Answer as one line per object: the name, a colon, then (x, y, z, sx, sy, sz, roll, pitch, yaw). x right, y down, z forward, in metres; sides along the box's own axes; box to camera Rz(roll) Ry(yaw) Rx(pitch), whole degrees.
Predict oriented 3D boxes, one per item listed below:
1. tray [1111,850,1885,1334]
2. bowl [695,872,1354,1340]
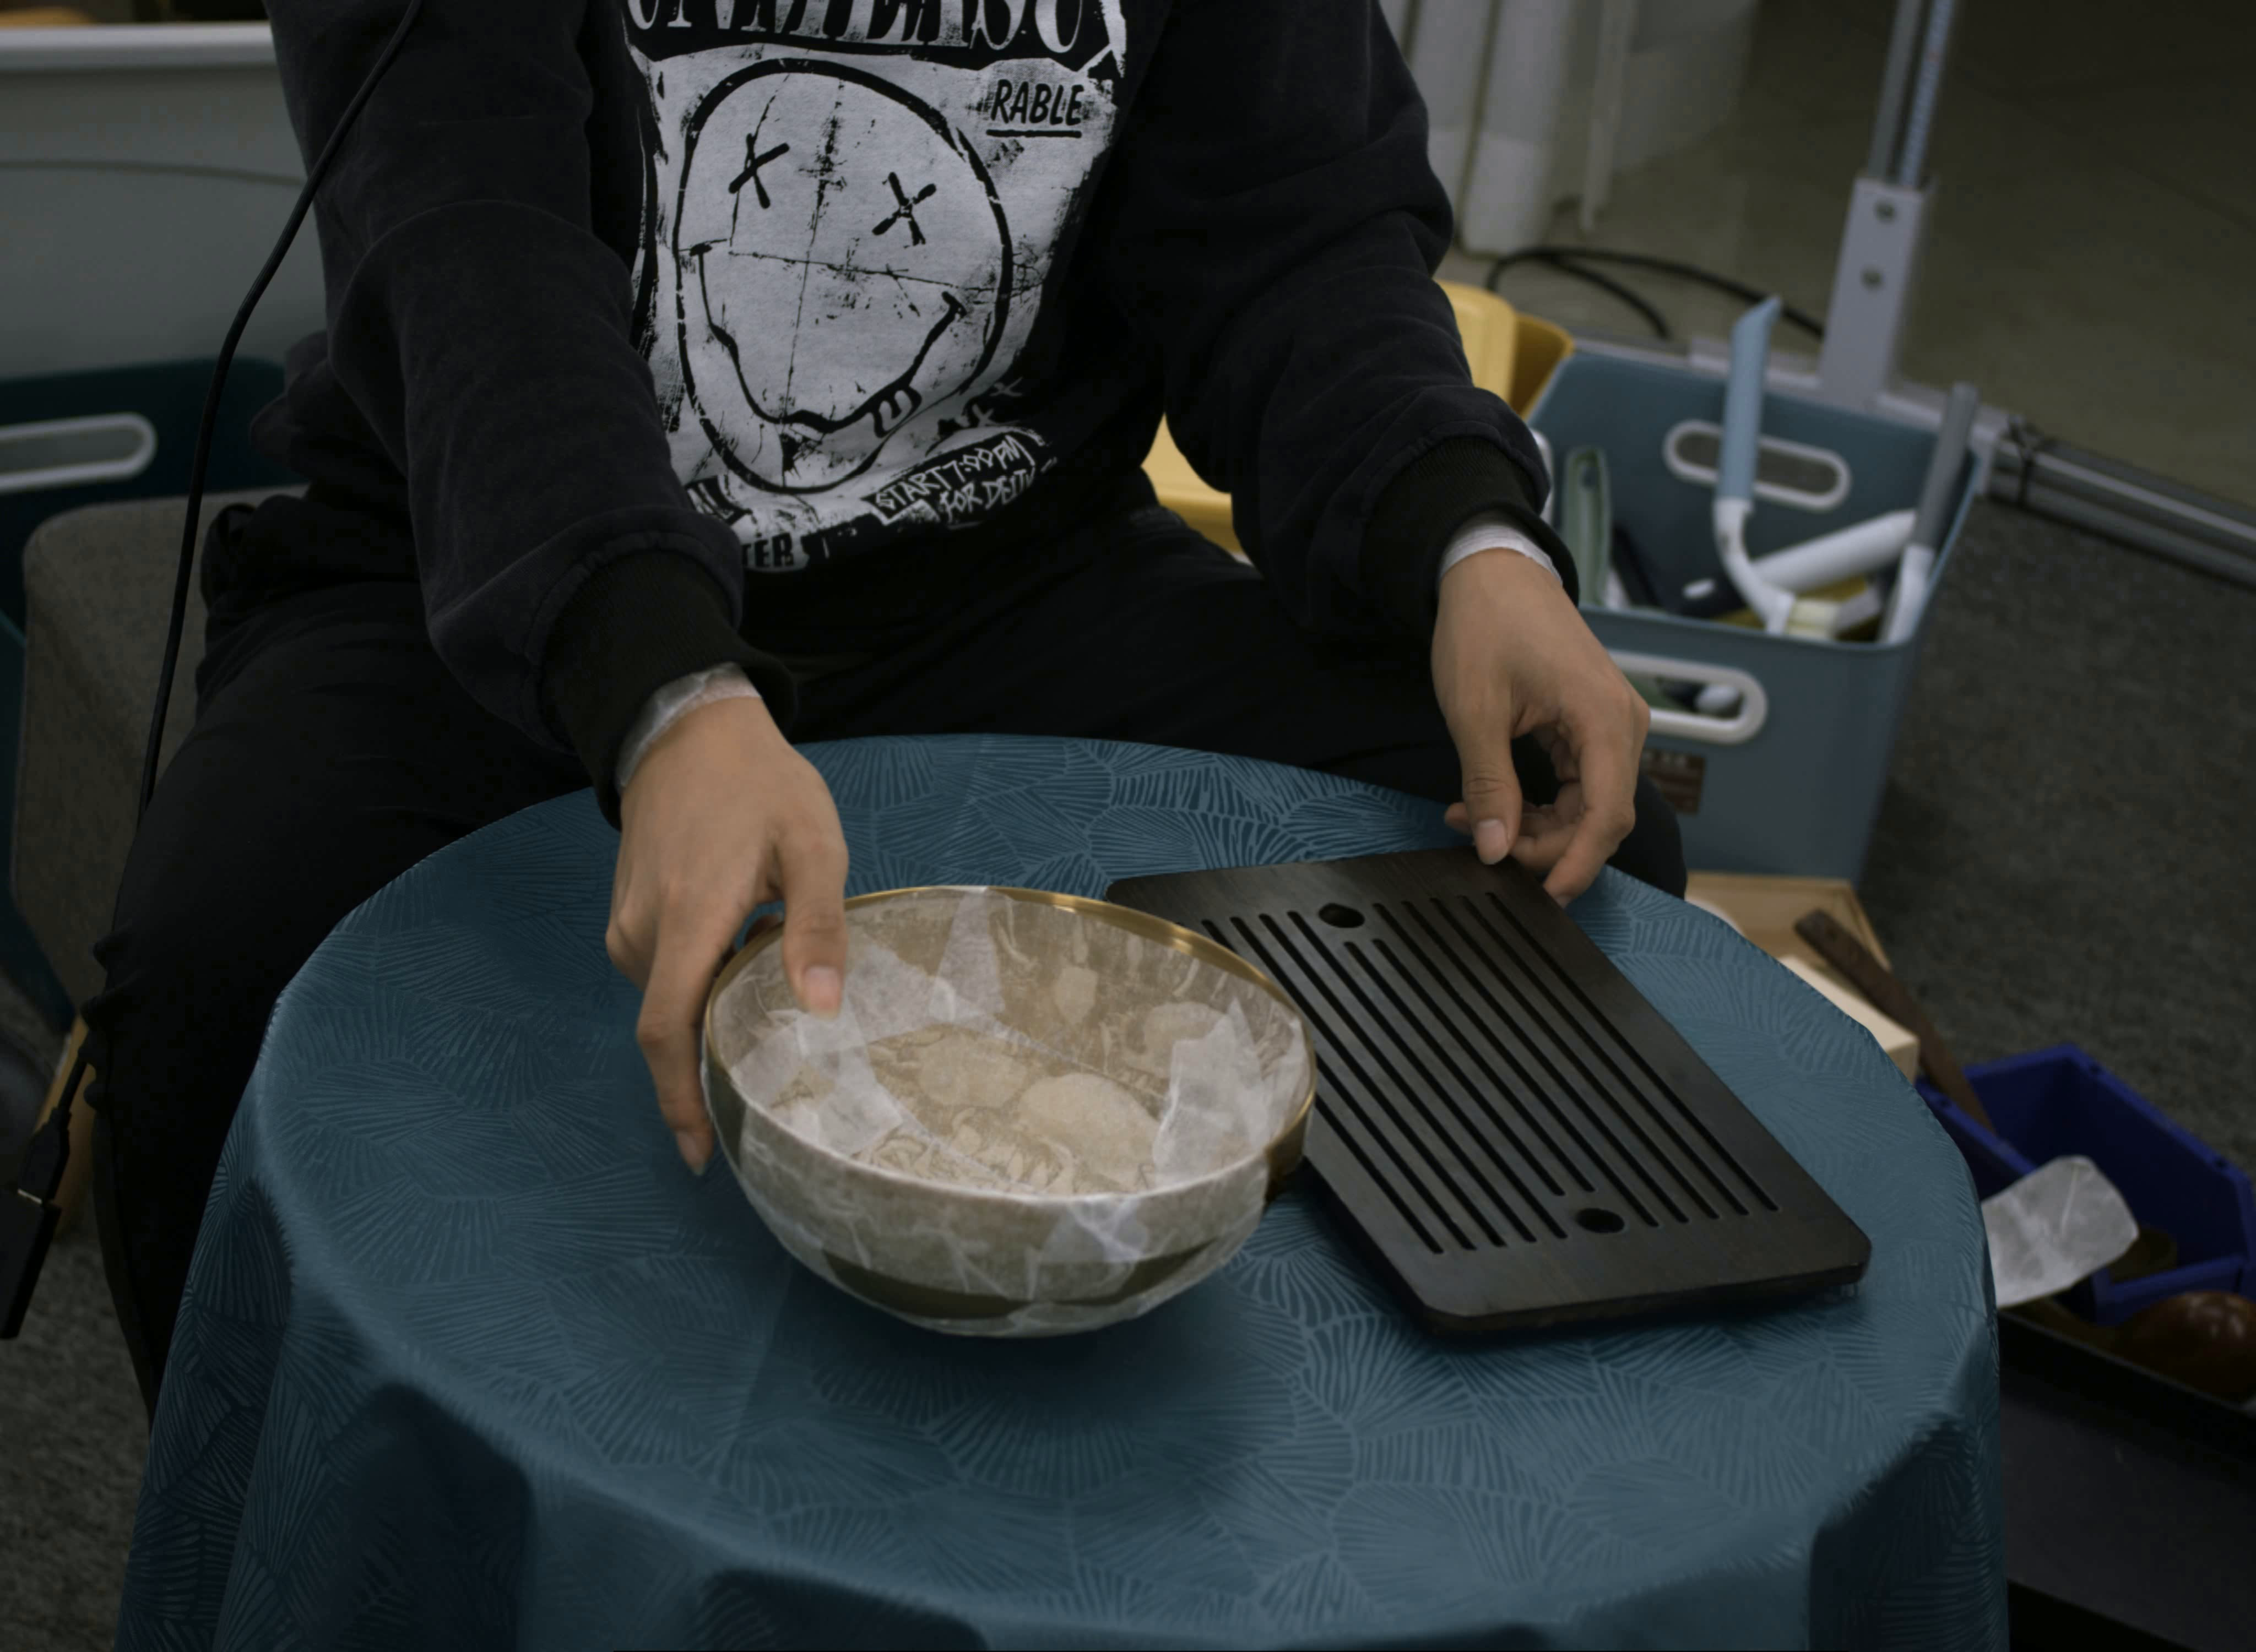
tray: (0.123, 0.091, 1.874, 0.169, 0.018, 0.309, -5, 29, -22)
bowl: (-0.039, 0.103, 1.729, 0.214, 0.094, 0.216, 4, 27, -3)
